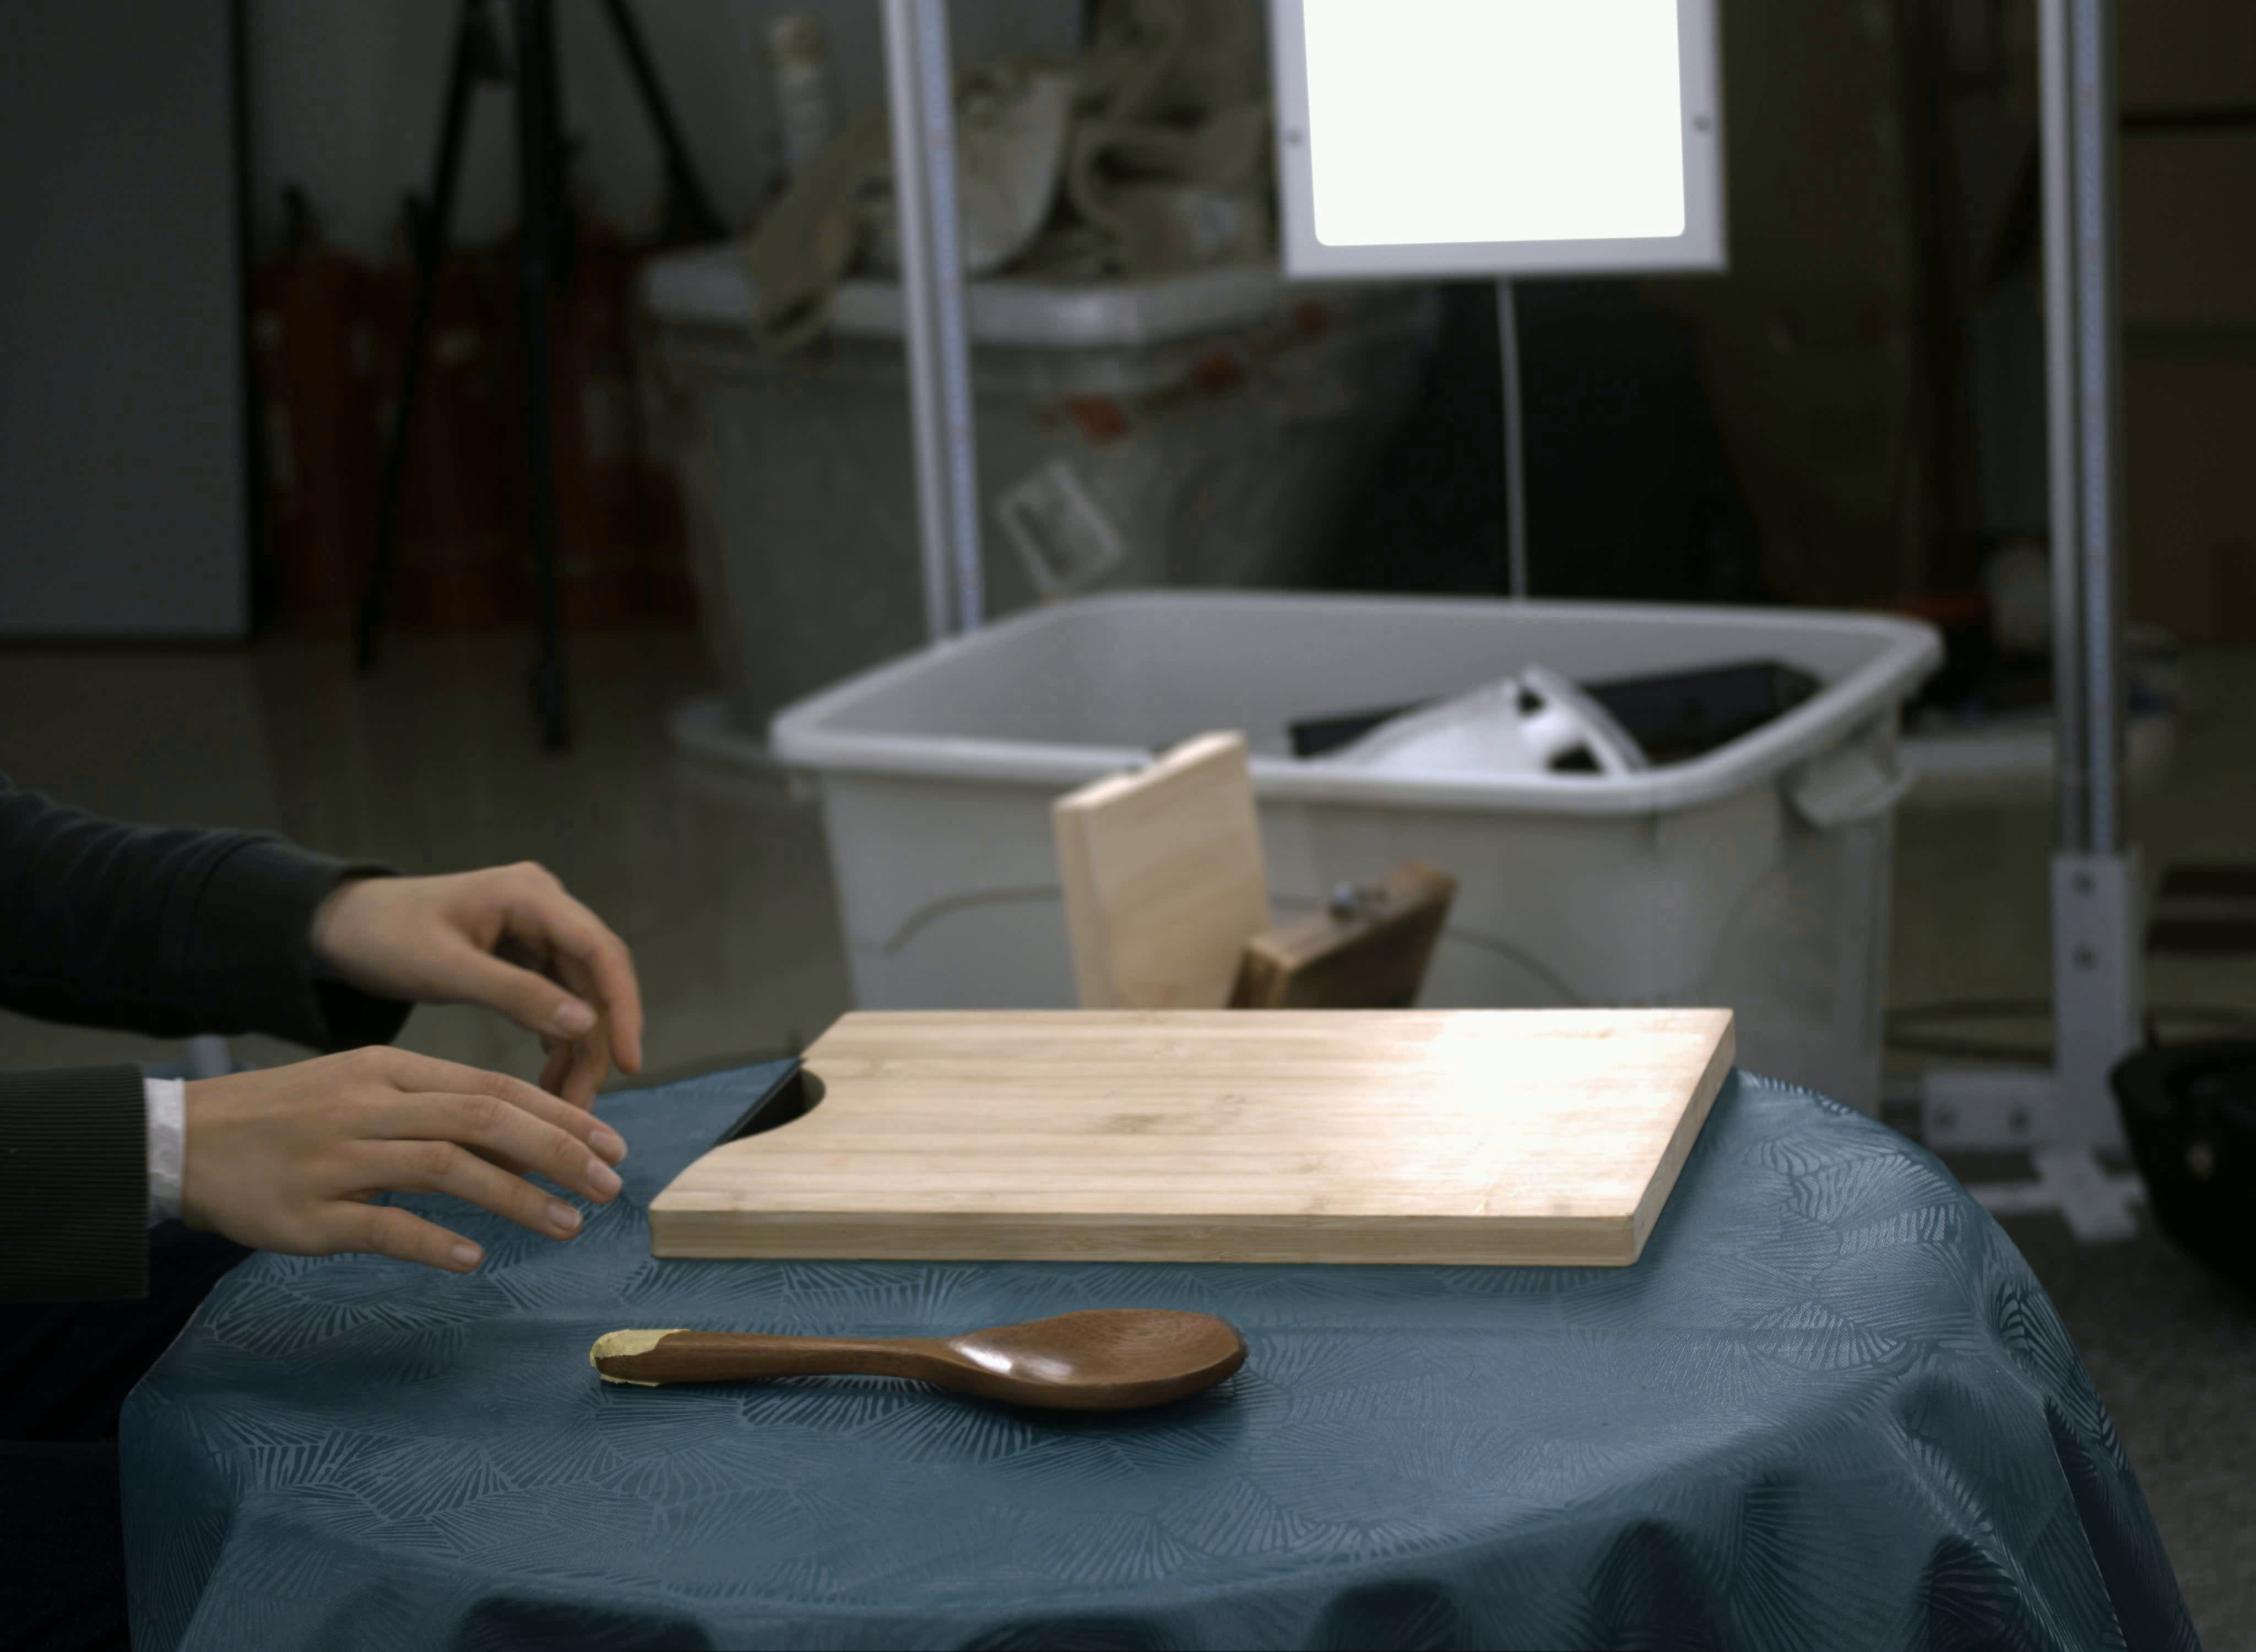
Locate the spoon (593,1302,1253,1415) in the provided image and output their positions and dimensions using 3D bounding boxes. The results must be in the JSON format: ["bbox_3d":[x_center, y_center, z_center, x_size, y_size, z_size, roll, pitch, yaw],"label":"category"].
[{"bbox_3d":[-0.065,0.166,1.722,0.218,0.017,0.074,0,16,19],"label":"spoon"}]

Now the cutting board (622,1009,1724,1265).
[{"bbox_3d":[0.023,0.107,1.935,0.352,0.023,0.247,-1,14,16],"label":"cutting board"}]
